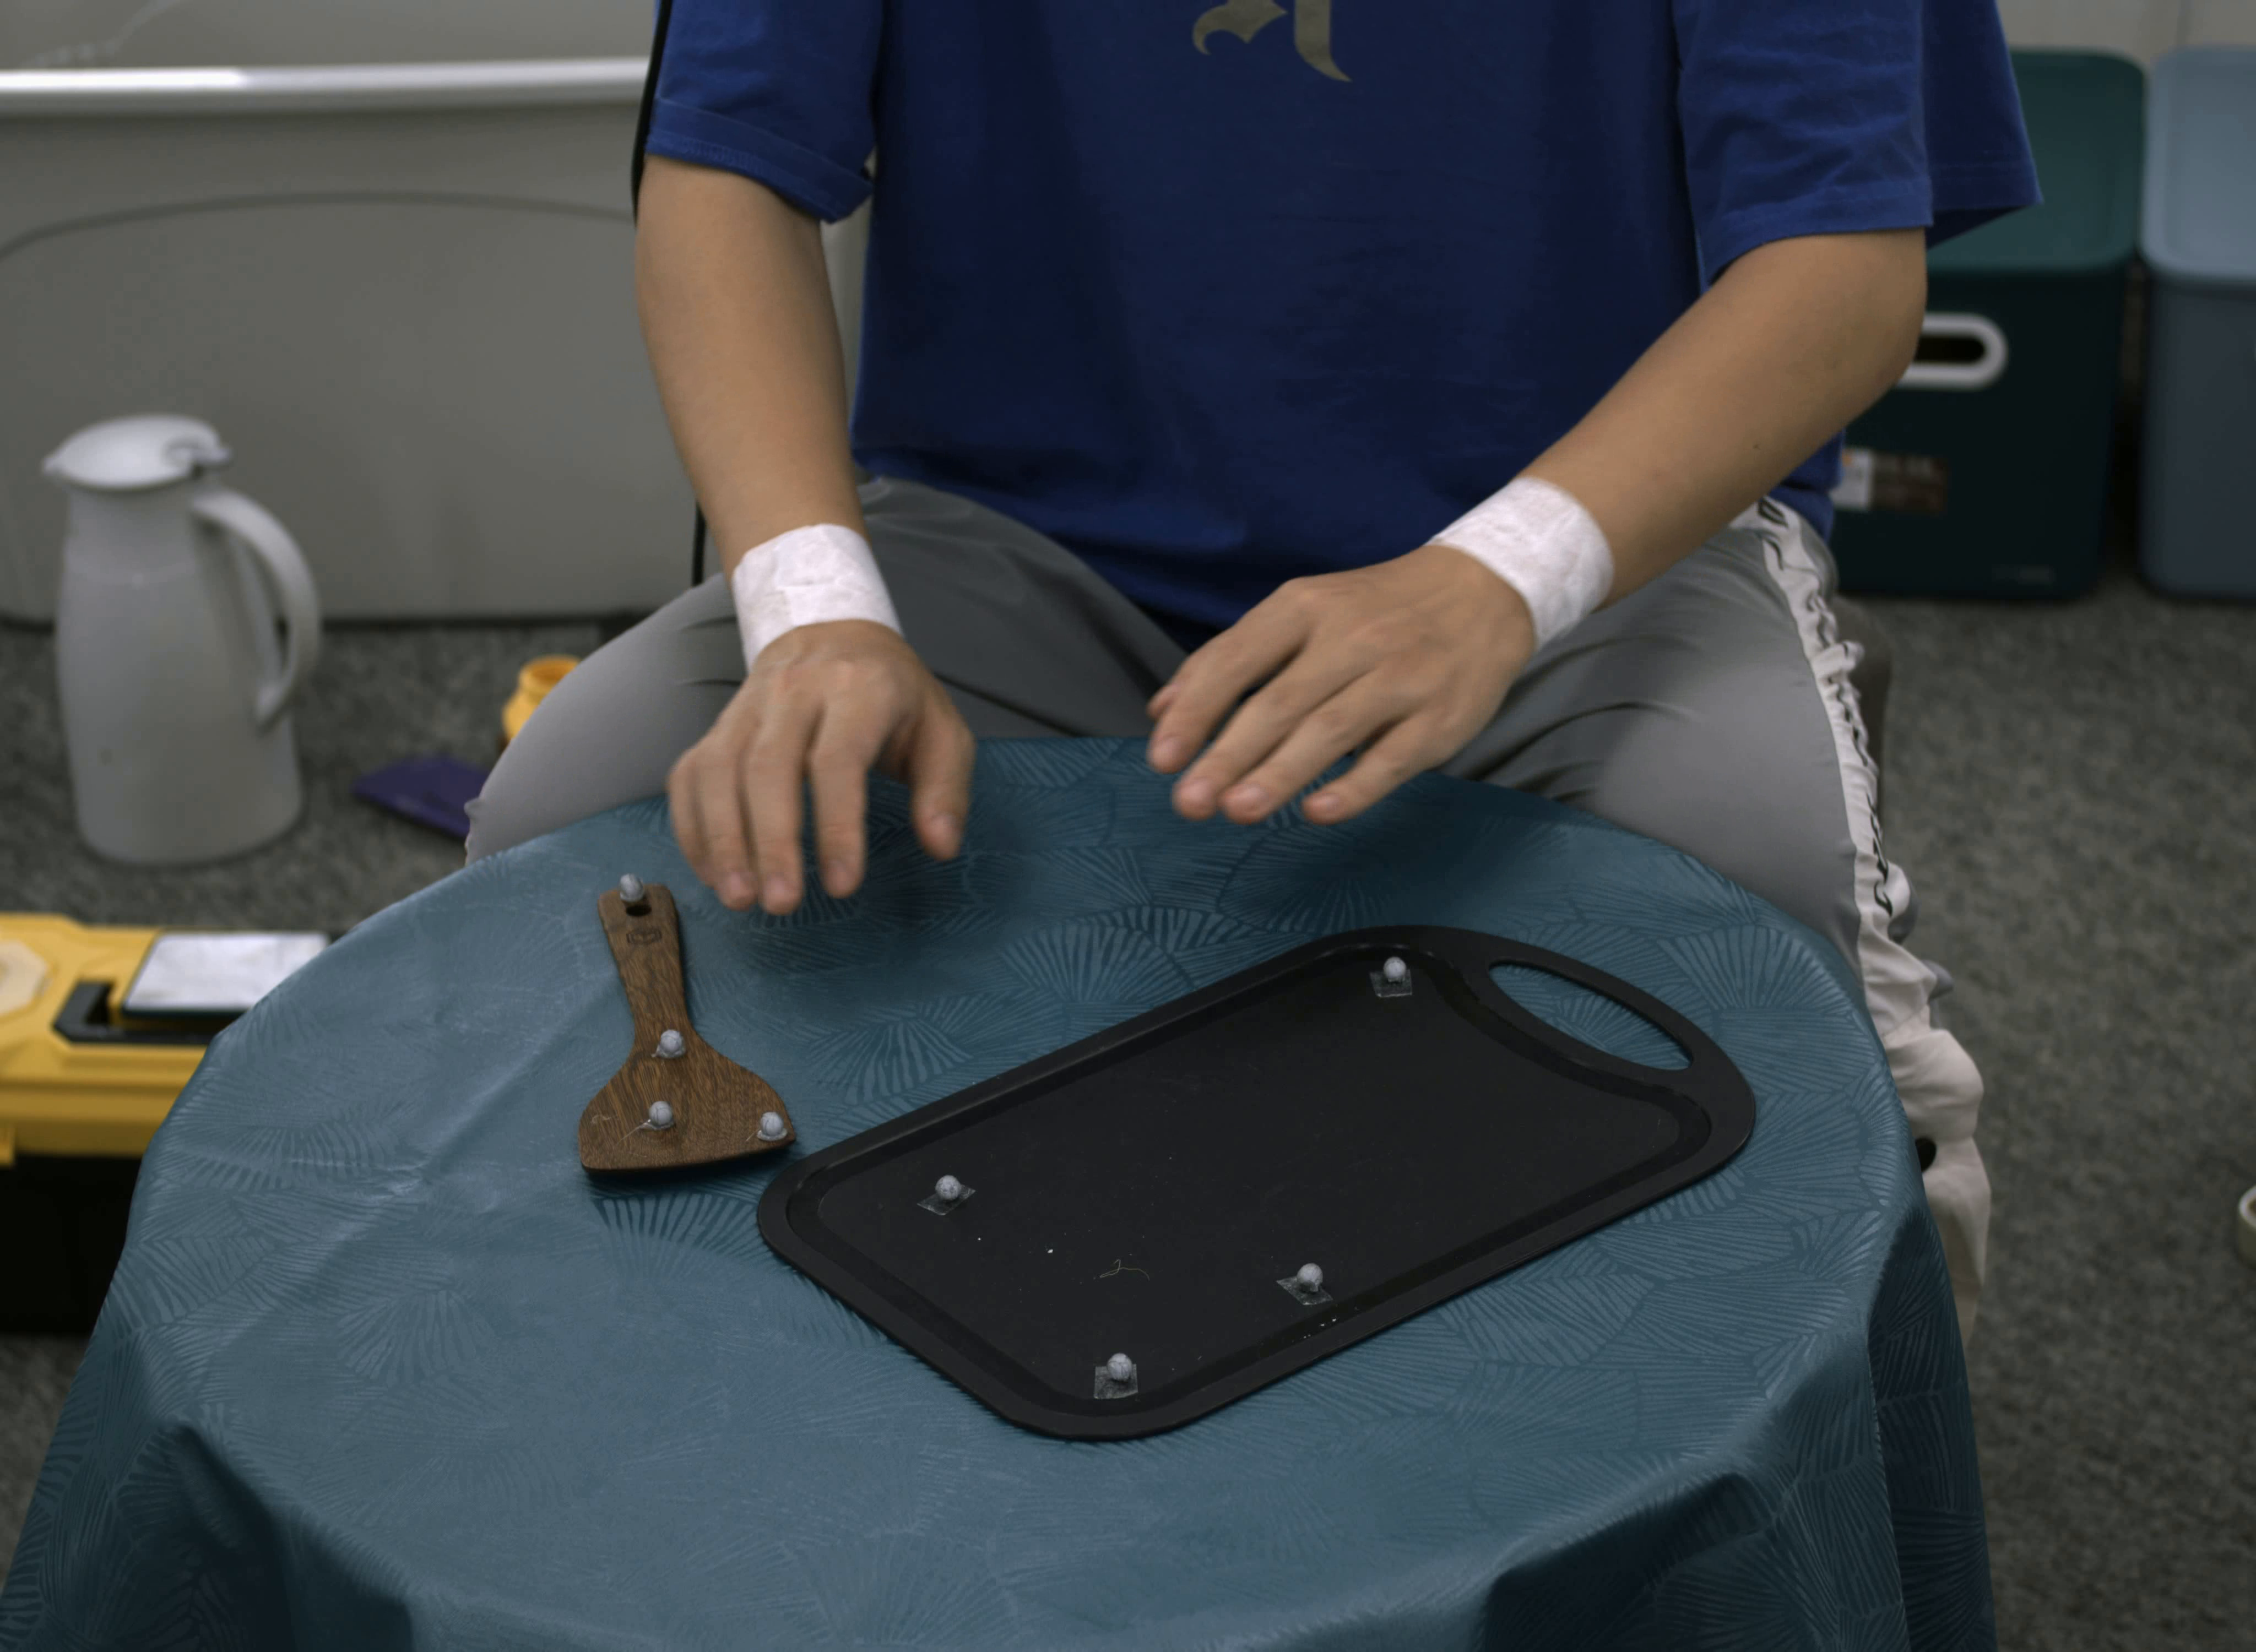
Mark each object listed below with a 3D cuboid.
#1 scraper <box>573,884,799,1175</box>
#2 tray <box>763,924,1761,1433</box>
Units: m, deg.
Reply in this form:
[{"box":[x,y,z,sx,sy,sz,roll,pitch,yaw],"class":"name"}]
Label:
[{"box":[-0.163,0.070,1.967,0.075,0.011,0.214,-6,27,-8],"class":"scraper"},{"box":[0.051,0.107,1.875,0.328,0.009,0.211,-21,32,-31],"class":"tray"}]
